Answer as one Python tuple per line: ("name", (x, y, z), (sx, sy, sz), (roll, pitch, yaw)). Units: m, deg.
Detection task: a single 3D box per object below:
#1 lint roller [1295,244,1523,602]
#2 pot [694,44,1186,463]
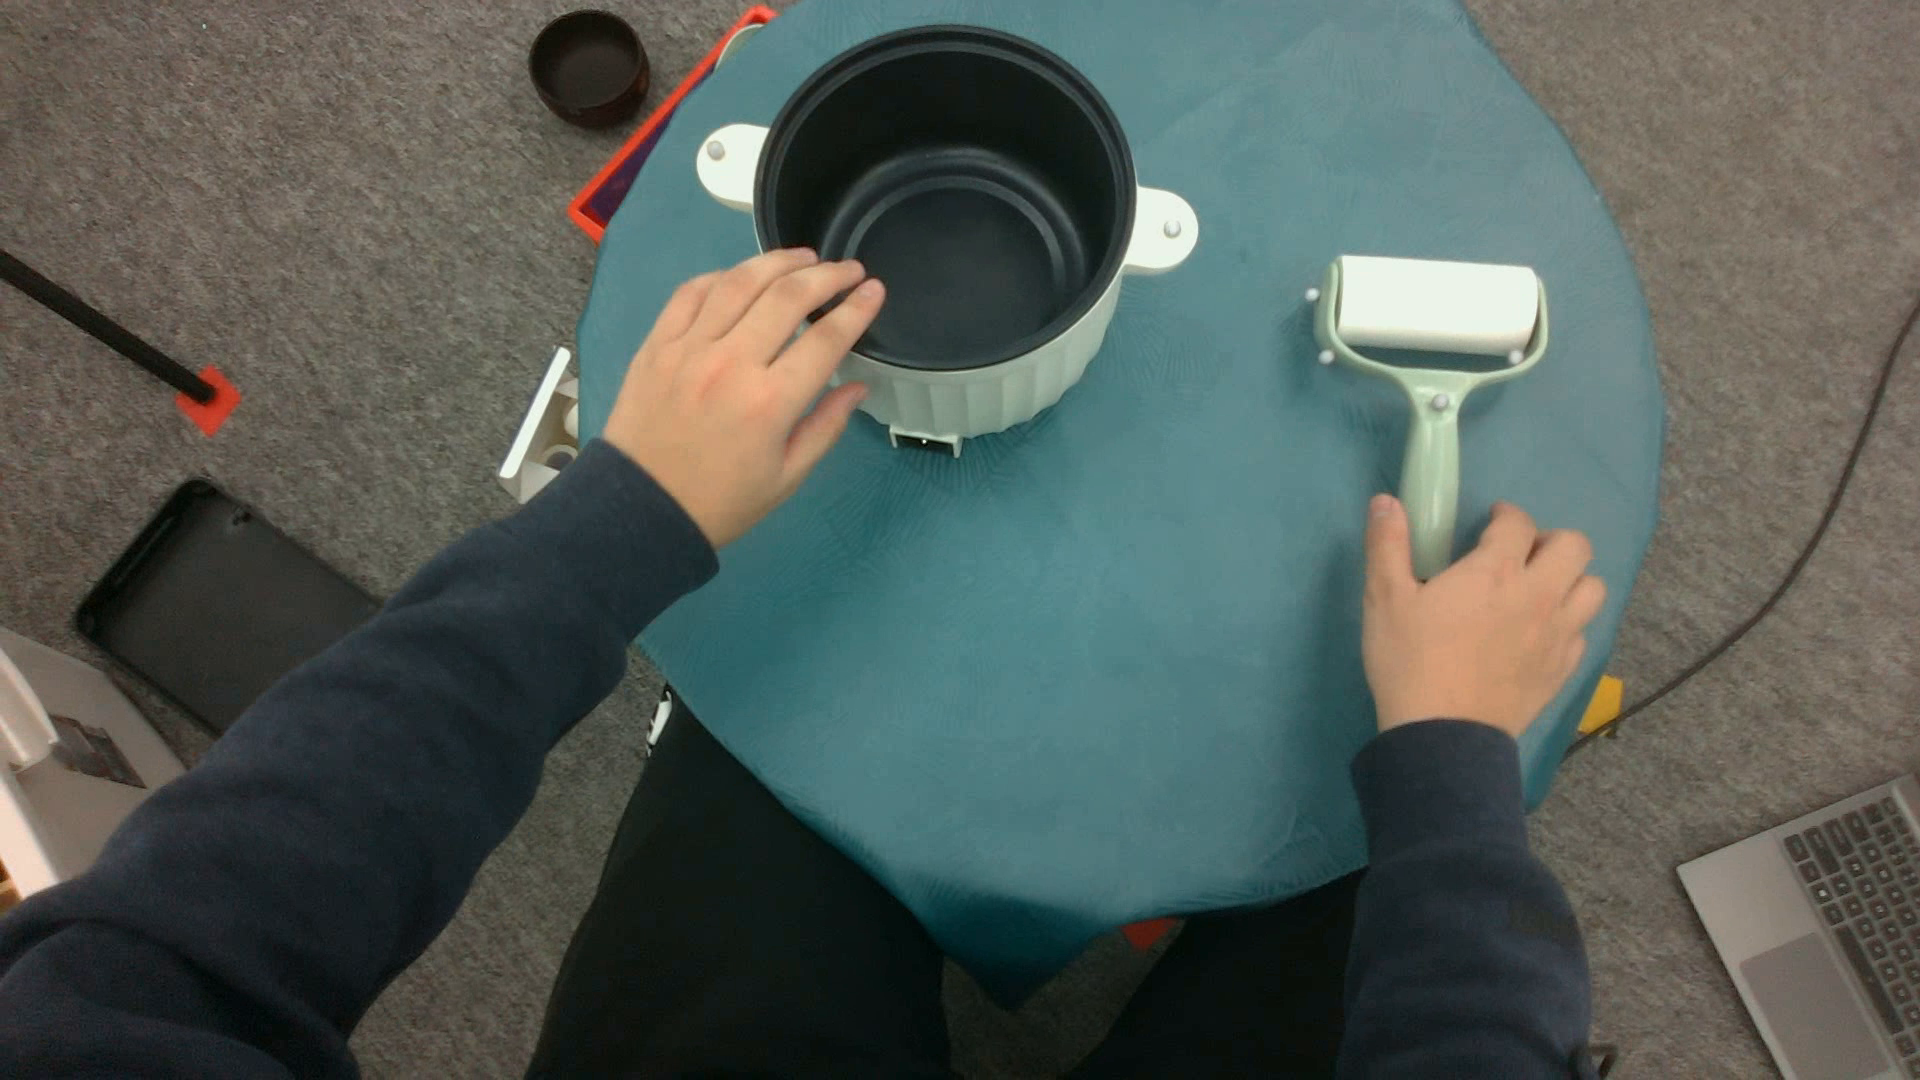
("lint roller", (0.241, -0.067, 0.739), (0.116, 0.048, 0.198), (2, 77, 2))
("pot", (-0.008, -0.149, 0.727), (0.240, 0.142, 0.191), (7, 78, 4))
